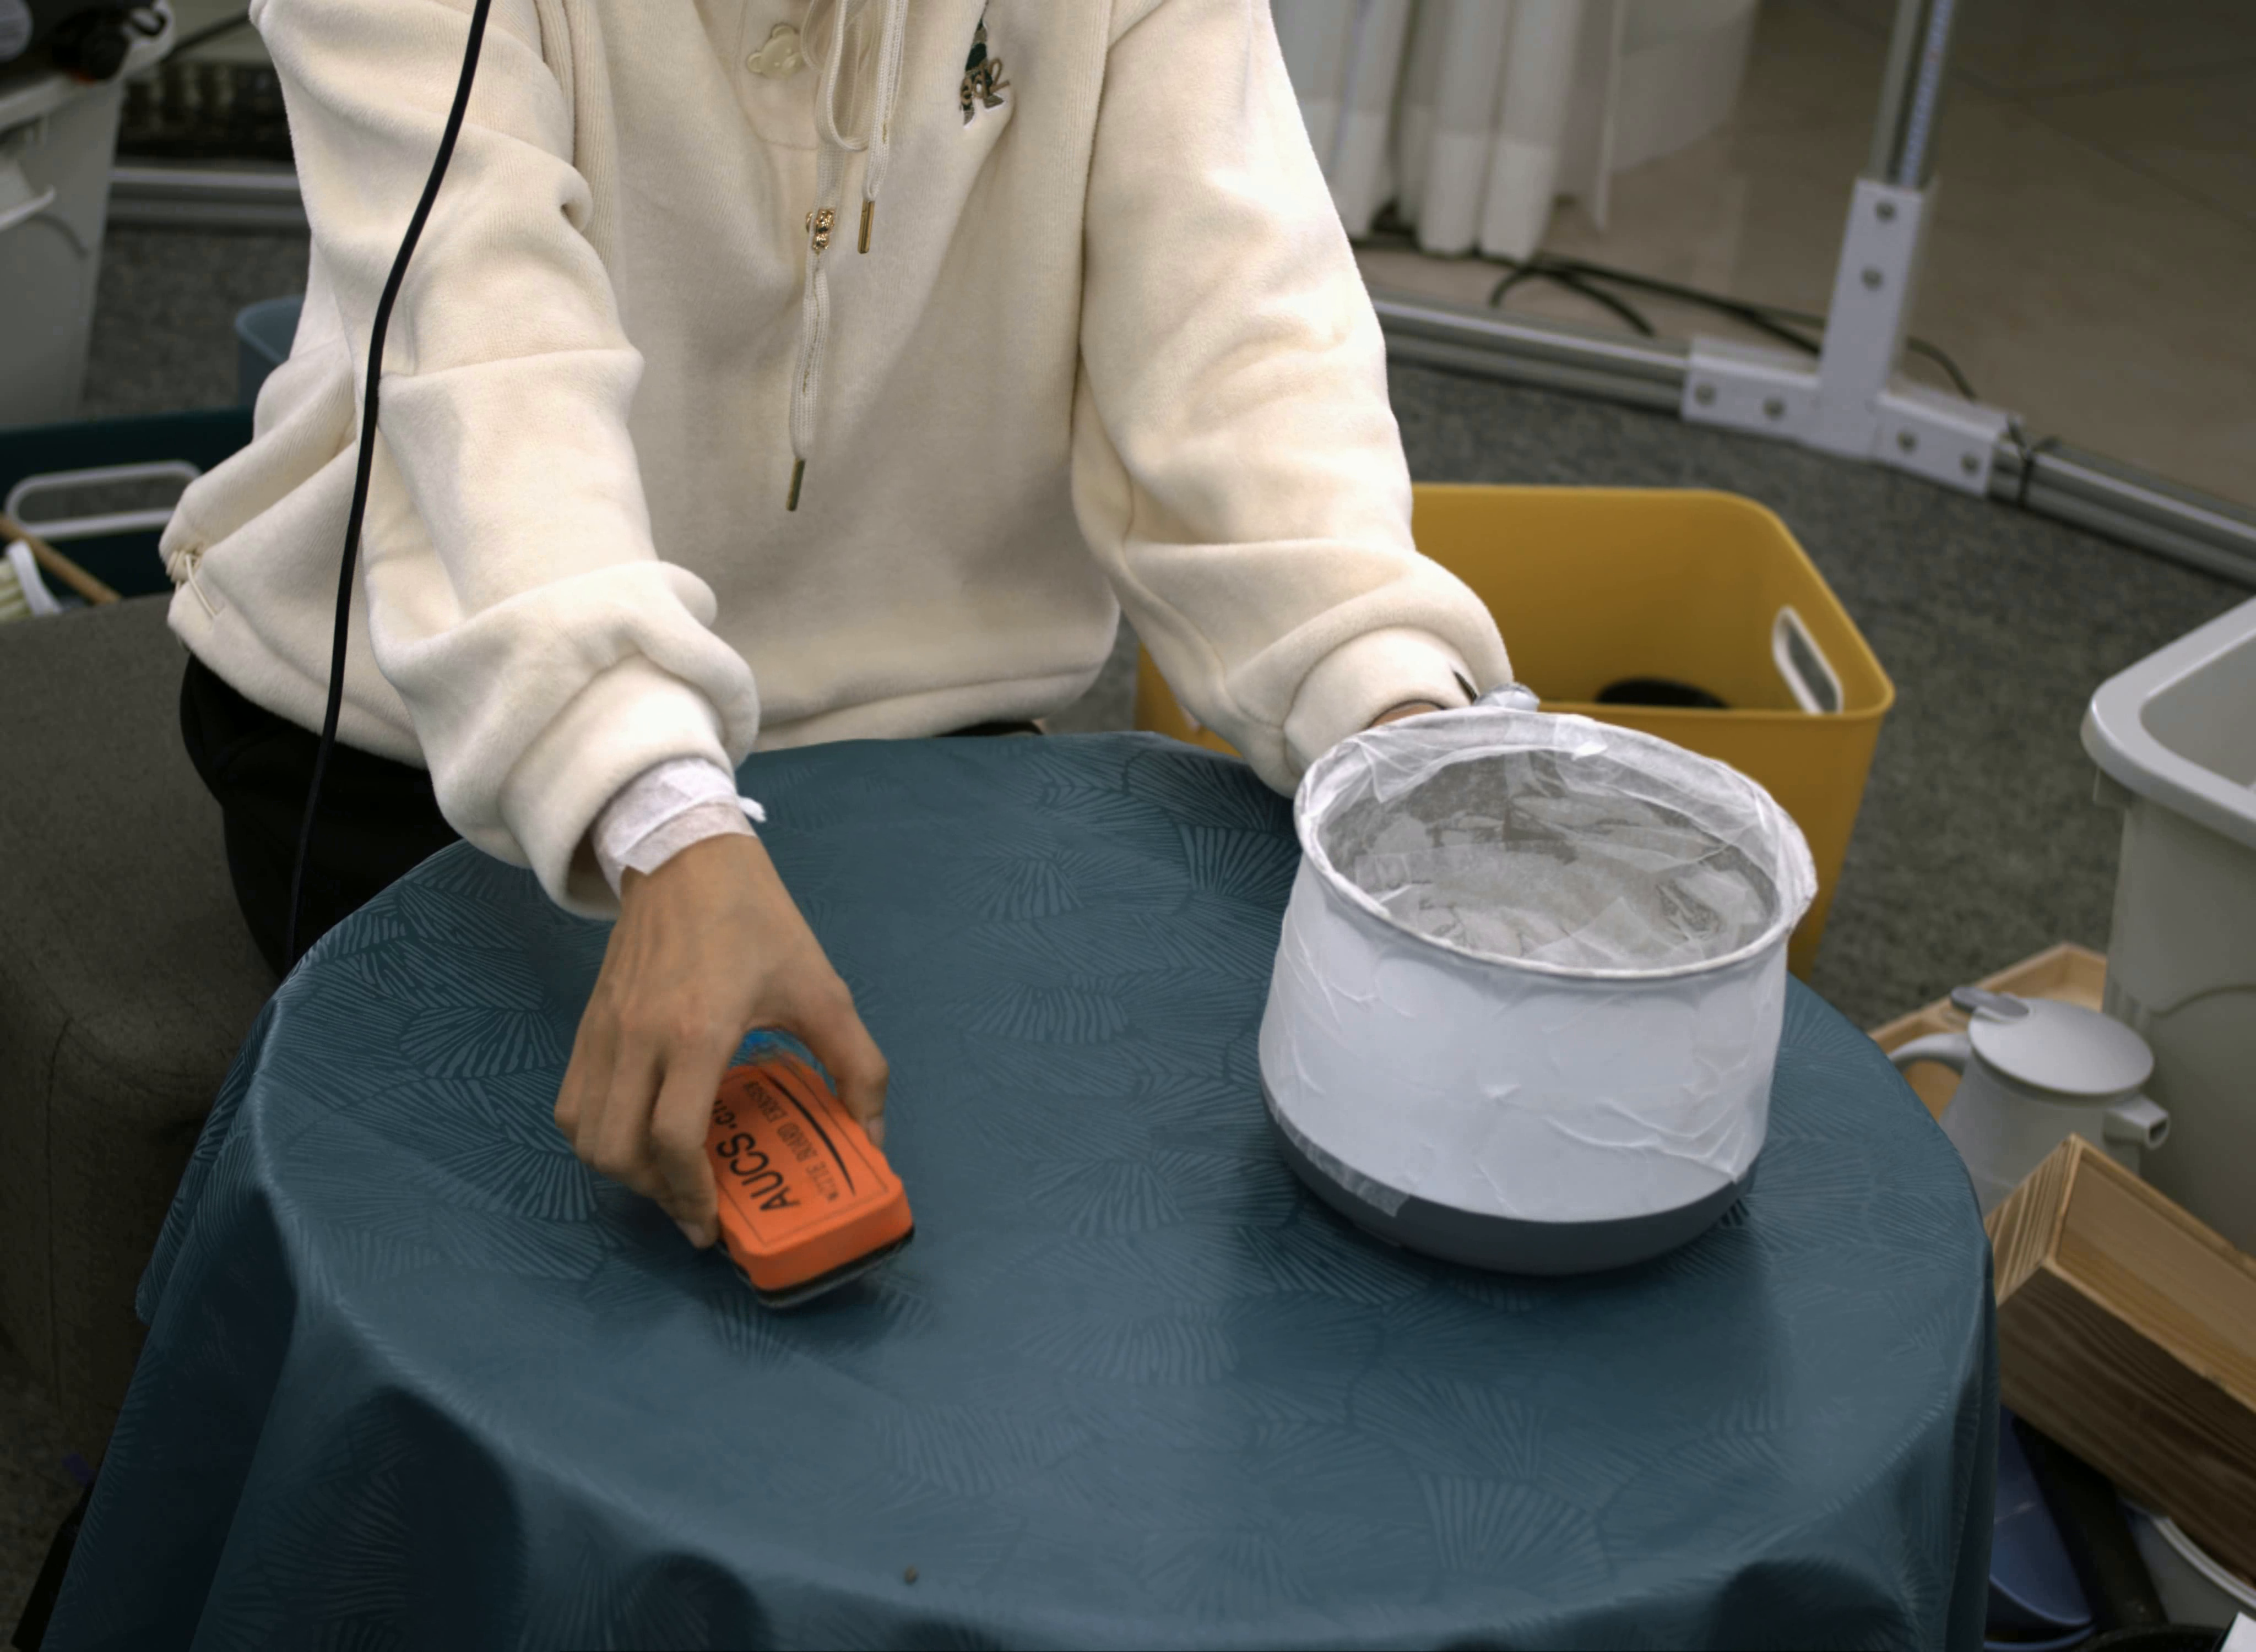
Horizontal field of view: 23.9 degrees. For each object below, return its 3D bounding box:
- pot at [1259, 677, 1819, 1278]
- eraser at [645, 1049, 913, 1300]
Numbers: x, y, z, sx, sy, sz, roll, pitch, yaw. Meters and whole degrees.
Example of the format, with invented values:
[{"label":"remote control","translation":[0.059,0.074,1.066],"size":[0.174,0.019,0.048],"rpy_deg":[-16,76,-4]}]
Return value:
[{"label":"pot","translation":[0.133,0.044,1.829],"size":[0.178,0.136,0.235],"rpy_deg":[2,30,-8]},{"label":"eraser","translation":[-0.115,0.114,1.746],"size":[0.059,0.023,0.109],"rpy_deg":[-21,32,-16]}]
